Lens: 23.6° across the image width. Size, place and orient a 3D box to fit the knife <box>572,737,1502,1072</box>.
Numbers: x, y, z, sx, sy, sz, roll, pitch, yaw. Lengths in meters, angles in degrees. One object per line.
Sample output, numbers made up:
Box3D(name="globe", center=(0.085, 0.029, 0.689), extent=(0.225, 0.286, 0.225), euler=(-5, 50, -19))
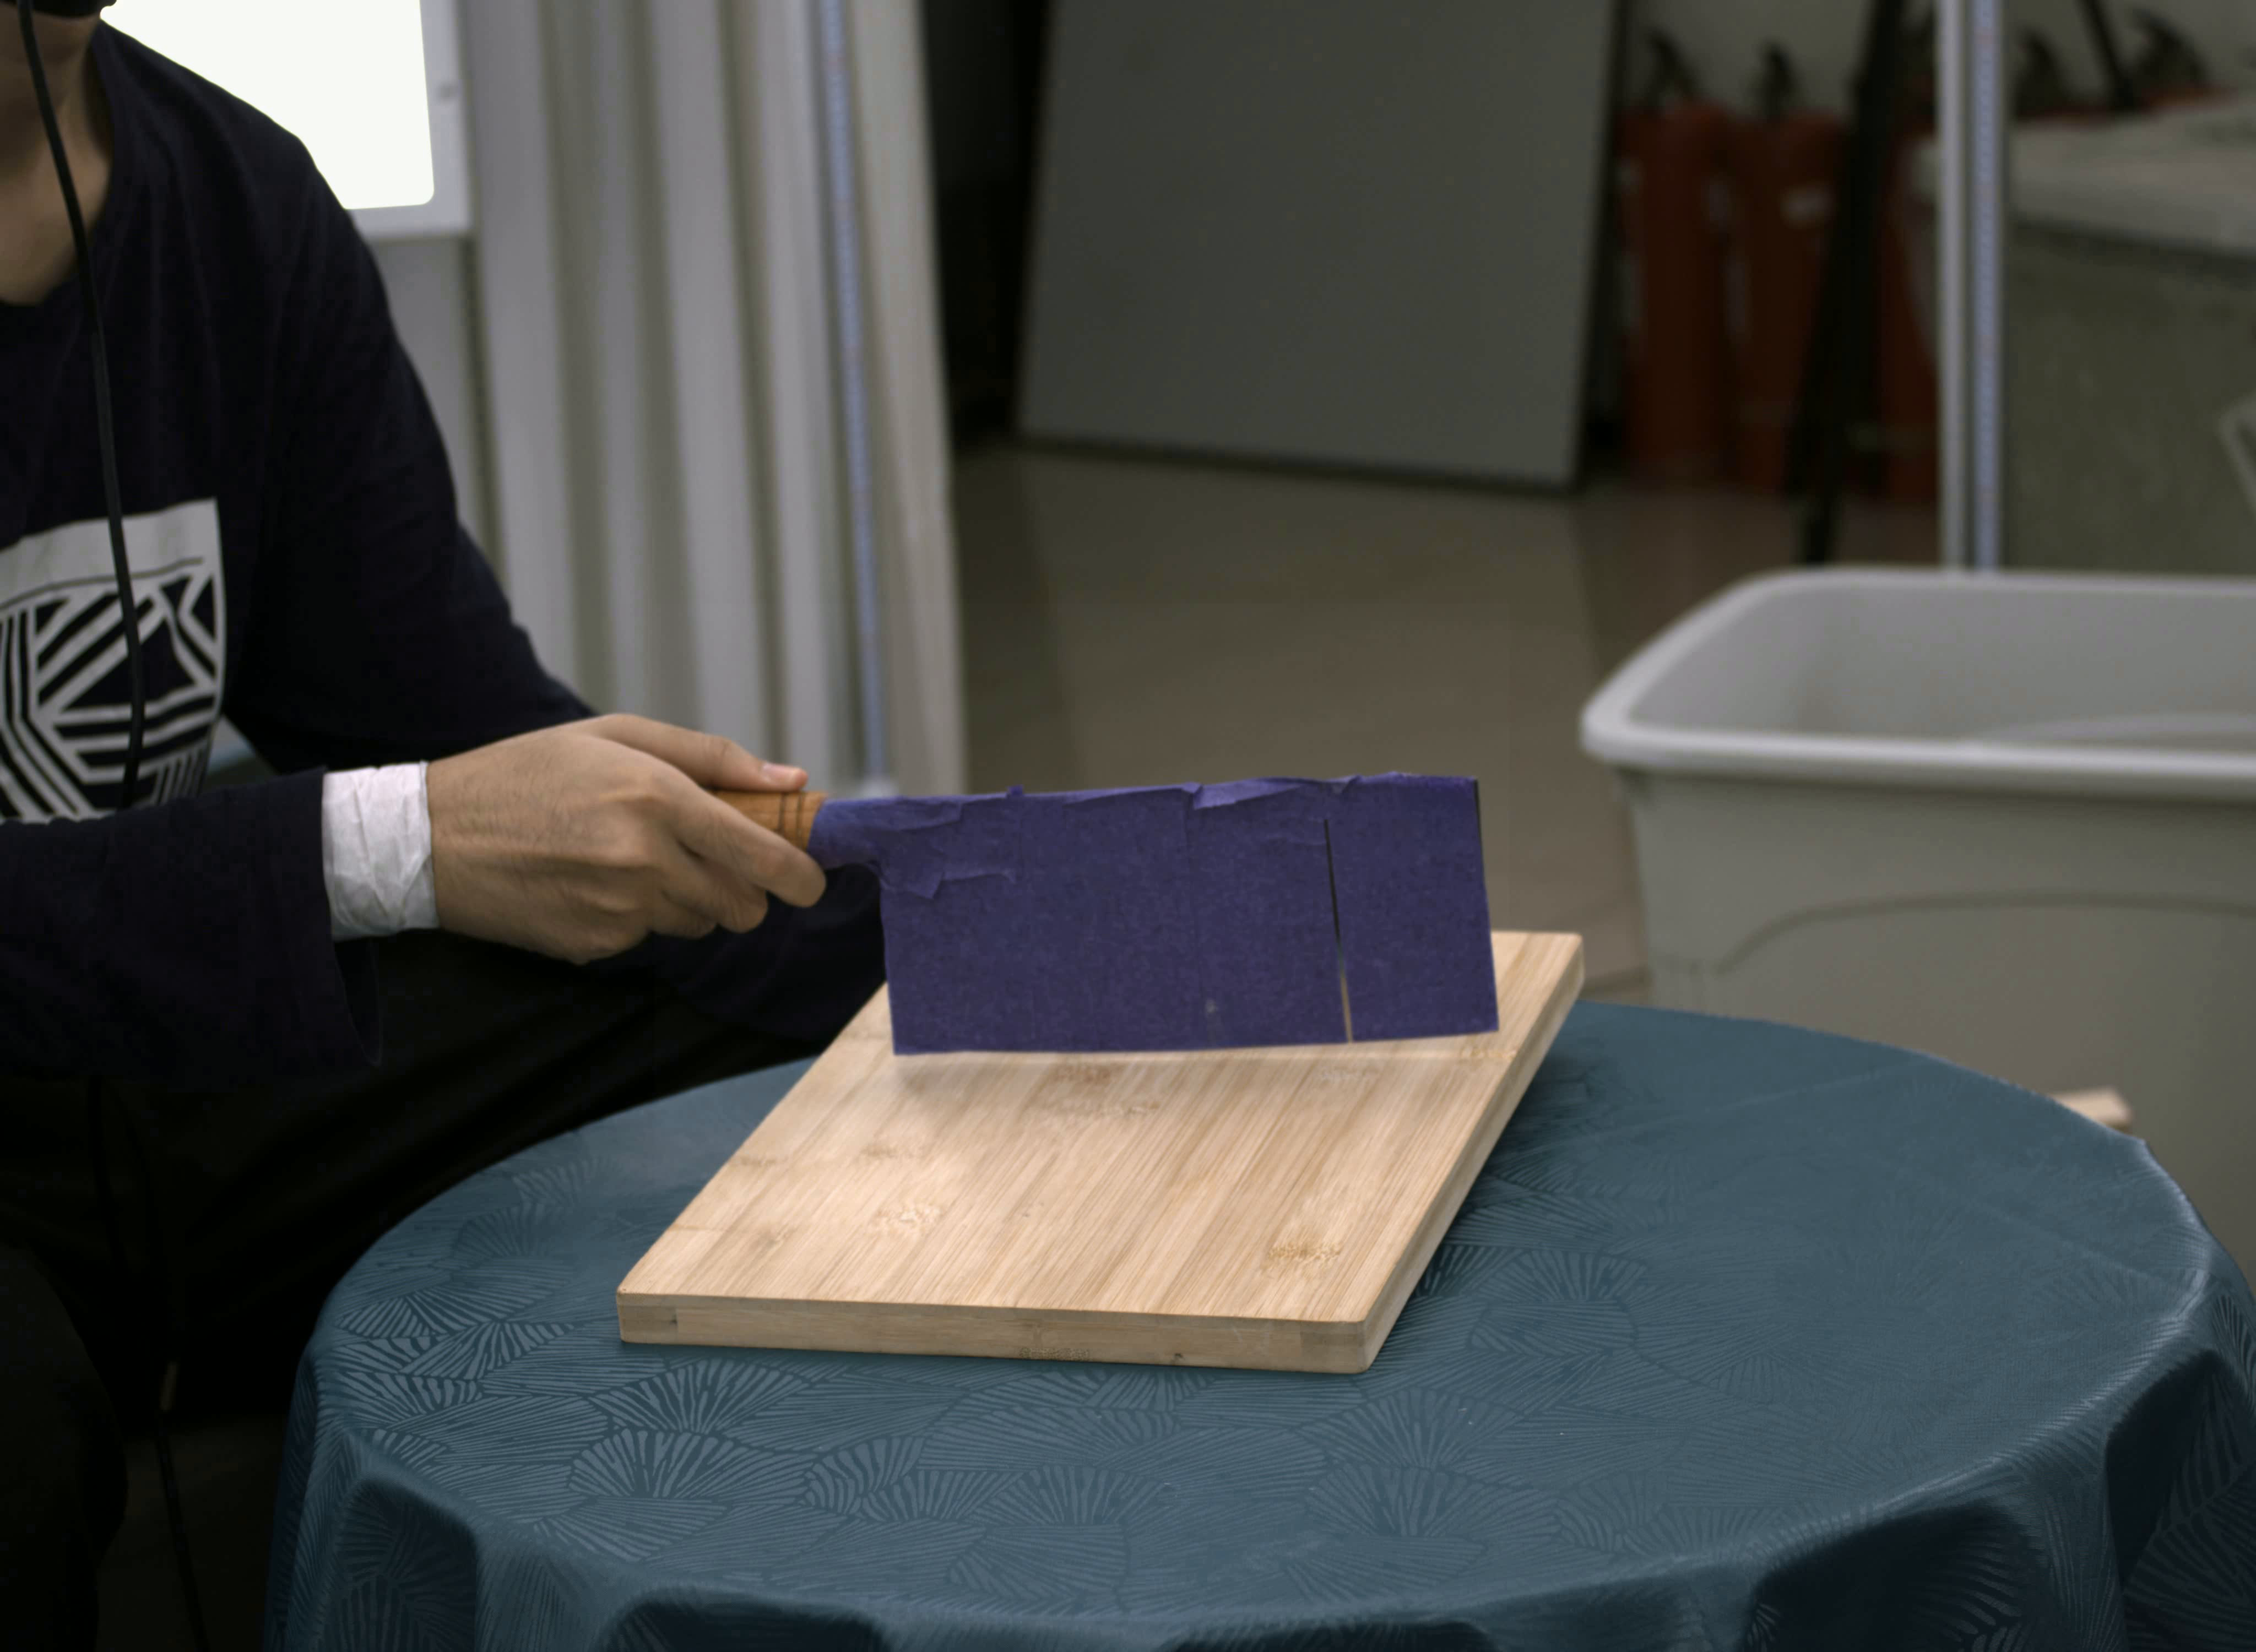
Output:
Box3D(name="knife", center=(-0.032, 0.032, 1.801), extent=(0.313, 0.105, 0.032), euler=(-4, 7, 14))

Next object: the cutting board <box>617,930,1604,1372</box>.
Box3D(name="cutting board", center=(0.004, 0.099, 1.778), extent=(0.250, 0.024, 0.346), euler=(0, 18, 17))
